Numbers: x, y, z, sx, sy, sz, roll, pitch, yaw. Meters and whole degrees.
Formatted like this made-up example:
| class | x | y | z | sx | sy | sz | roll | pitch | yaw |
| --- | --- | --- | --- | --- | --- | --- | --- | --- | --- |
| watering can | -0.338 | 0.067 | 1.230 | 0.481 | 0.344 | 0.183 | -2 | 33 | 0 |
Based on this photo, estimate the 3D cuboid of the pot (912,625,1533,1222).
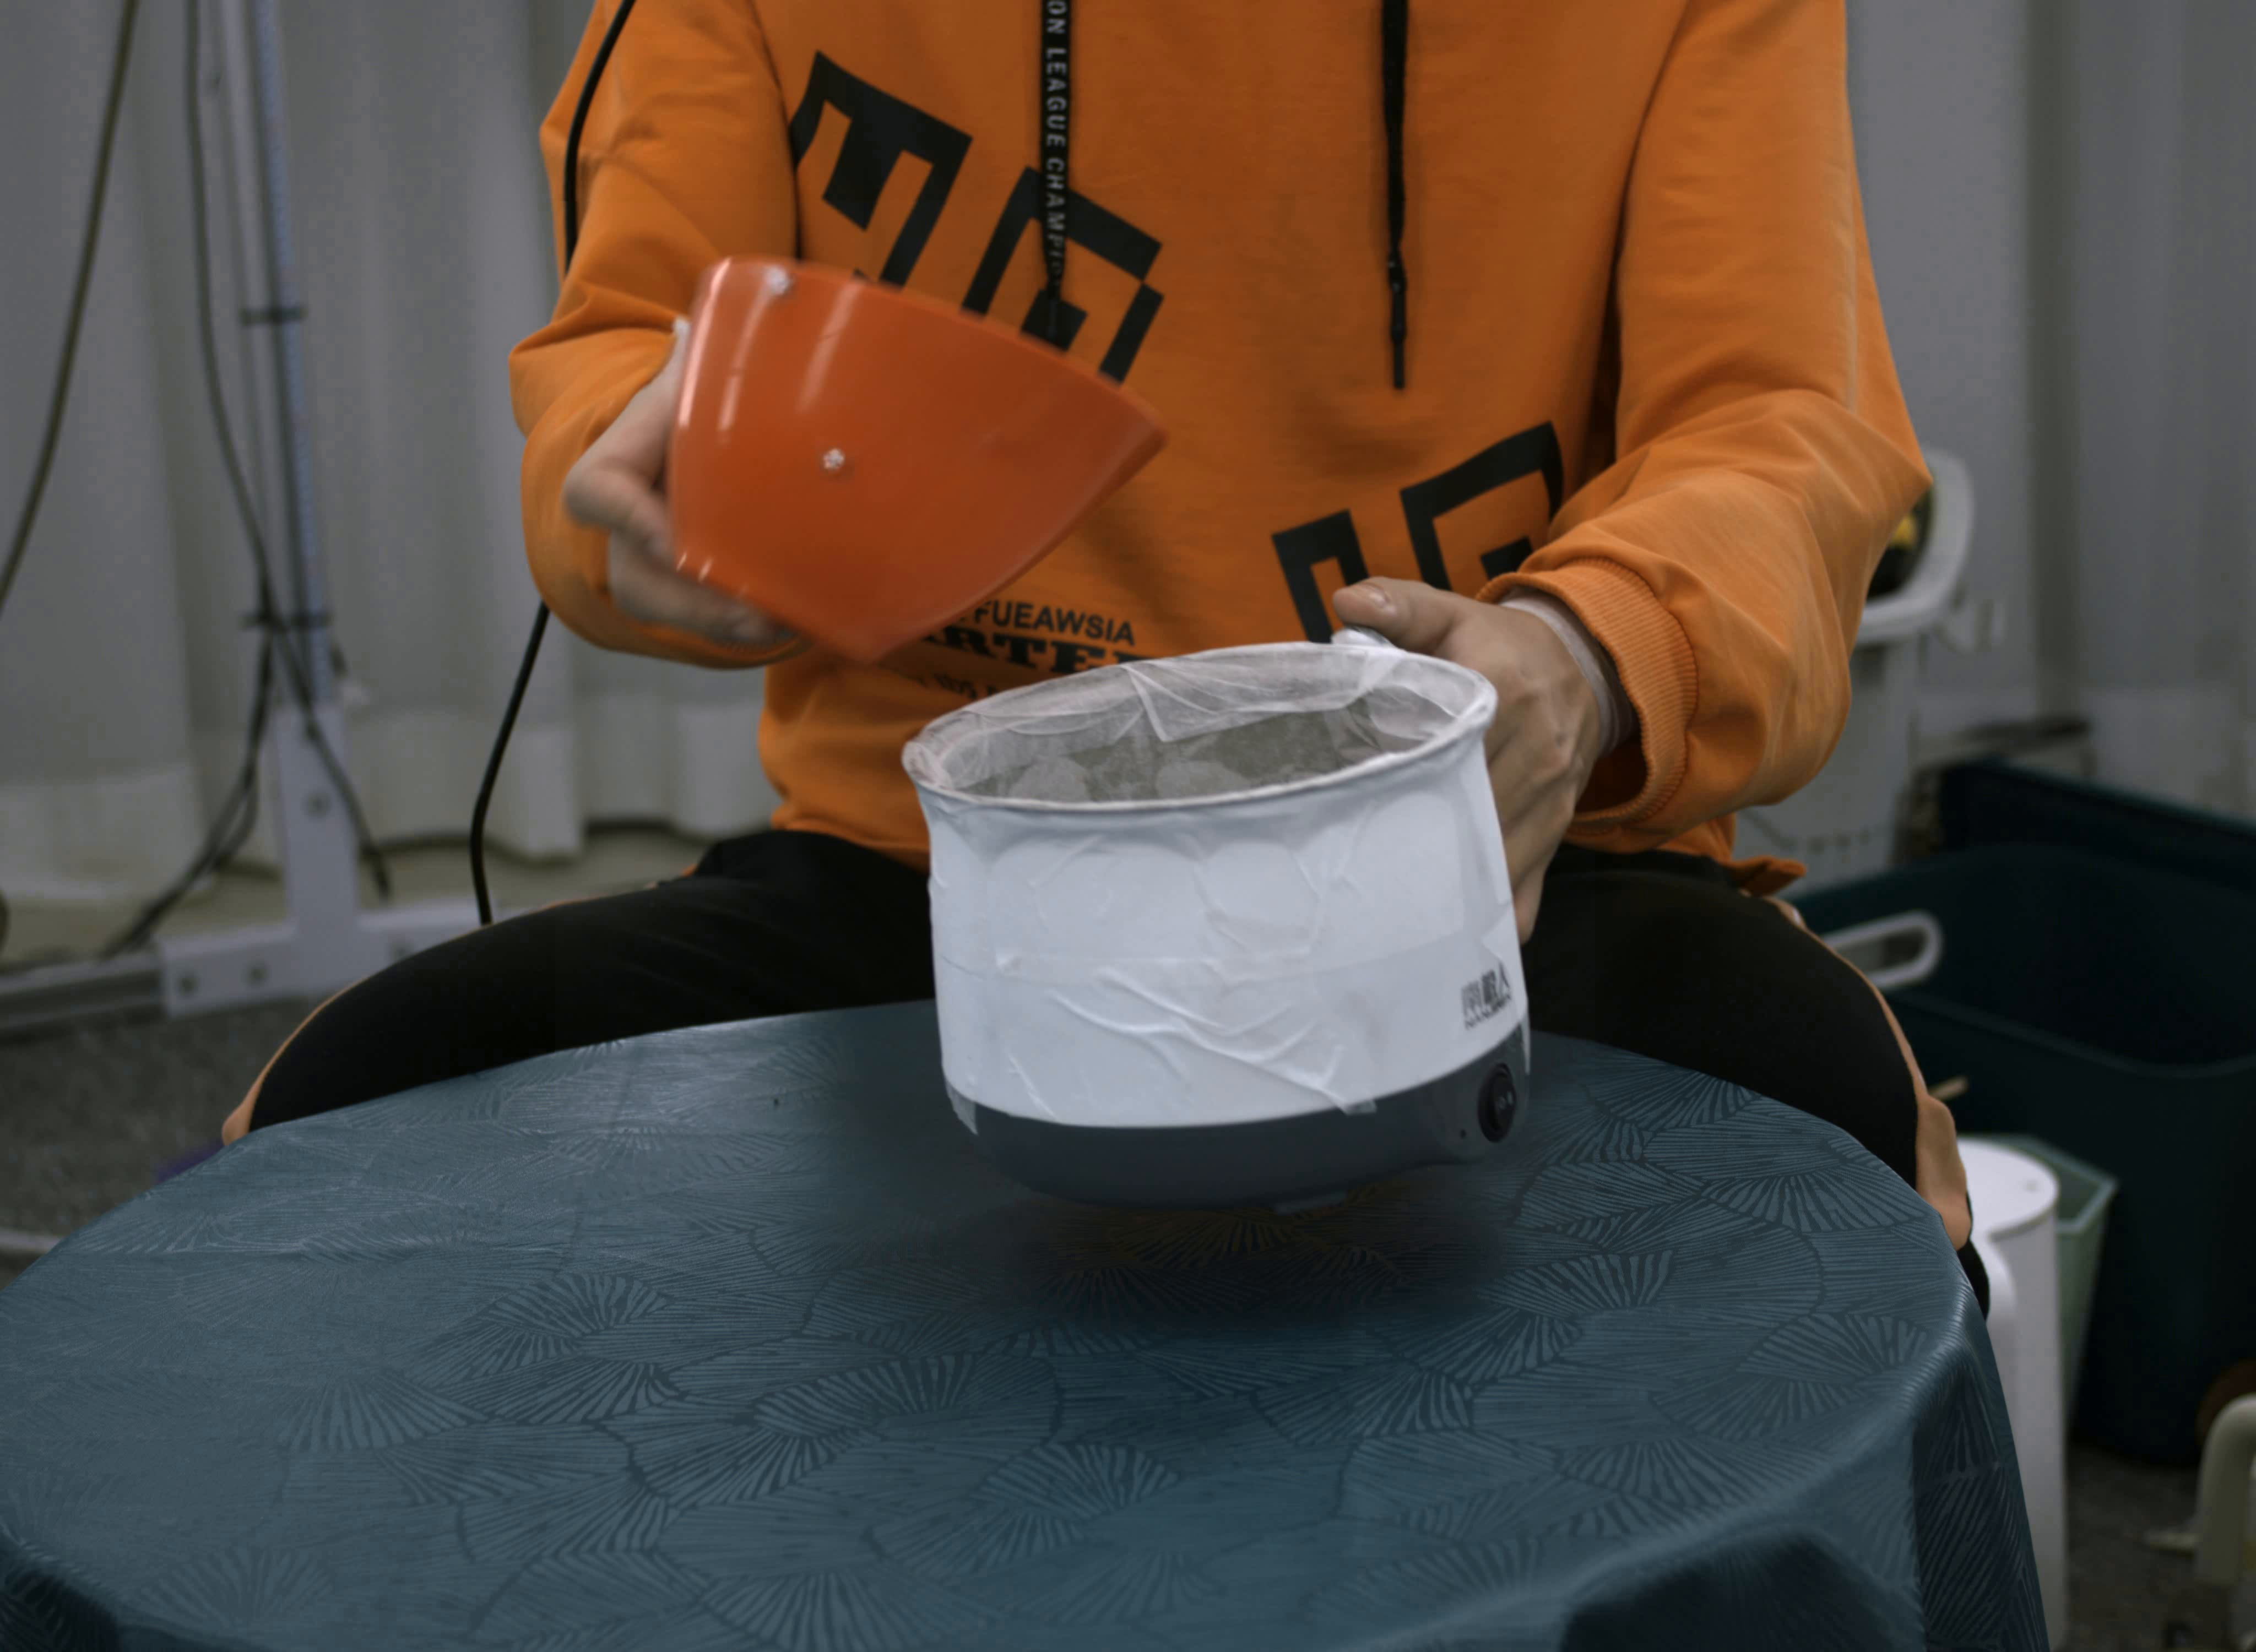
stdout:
| class | x | y | z | sx | sy | sz | roll | pitch | yaw |
| --- | --- | --- | --- | --- | --- | --- | --- | --- | --- |
| pot | 0.043 | 0.024 | 1.655 | 0.179 | 0.136 | 0.234 | 3 | 18 | 29 |

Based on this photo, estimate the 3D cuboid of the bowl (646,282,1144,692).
| class | x | y | z | sx | sy | sz | roll | pitch | yaw |
| --- | --- | --- | --- | --- | --- | --- | --- | --- | --- |
| bowl | -0.083 | -0.097 | 1.639 | 0.148 | 0.105 | 0.148 | 25 | -3 | 1 |
